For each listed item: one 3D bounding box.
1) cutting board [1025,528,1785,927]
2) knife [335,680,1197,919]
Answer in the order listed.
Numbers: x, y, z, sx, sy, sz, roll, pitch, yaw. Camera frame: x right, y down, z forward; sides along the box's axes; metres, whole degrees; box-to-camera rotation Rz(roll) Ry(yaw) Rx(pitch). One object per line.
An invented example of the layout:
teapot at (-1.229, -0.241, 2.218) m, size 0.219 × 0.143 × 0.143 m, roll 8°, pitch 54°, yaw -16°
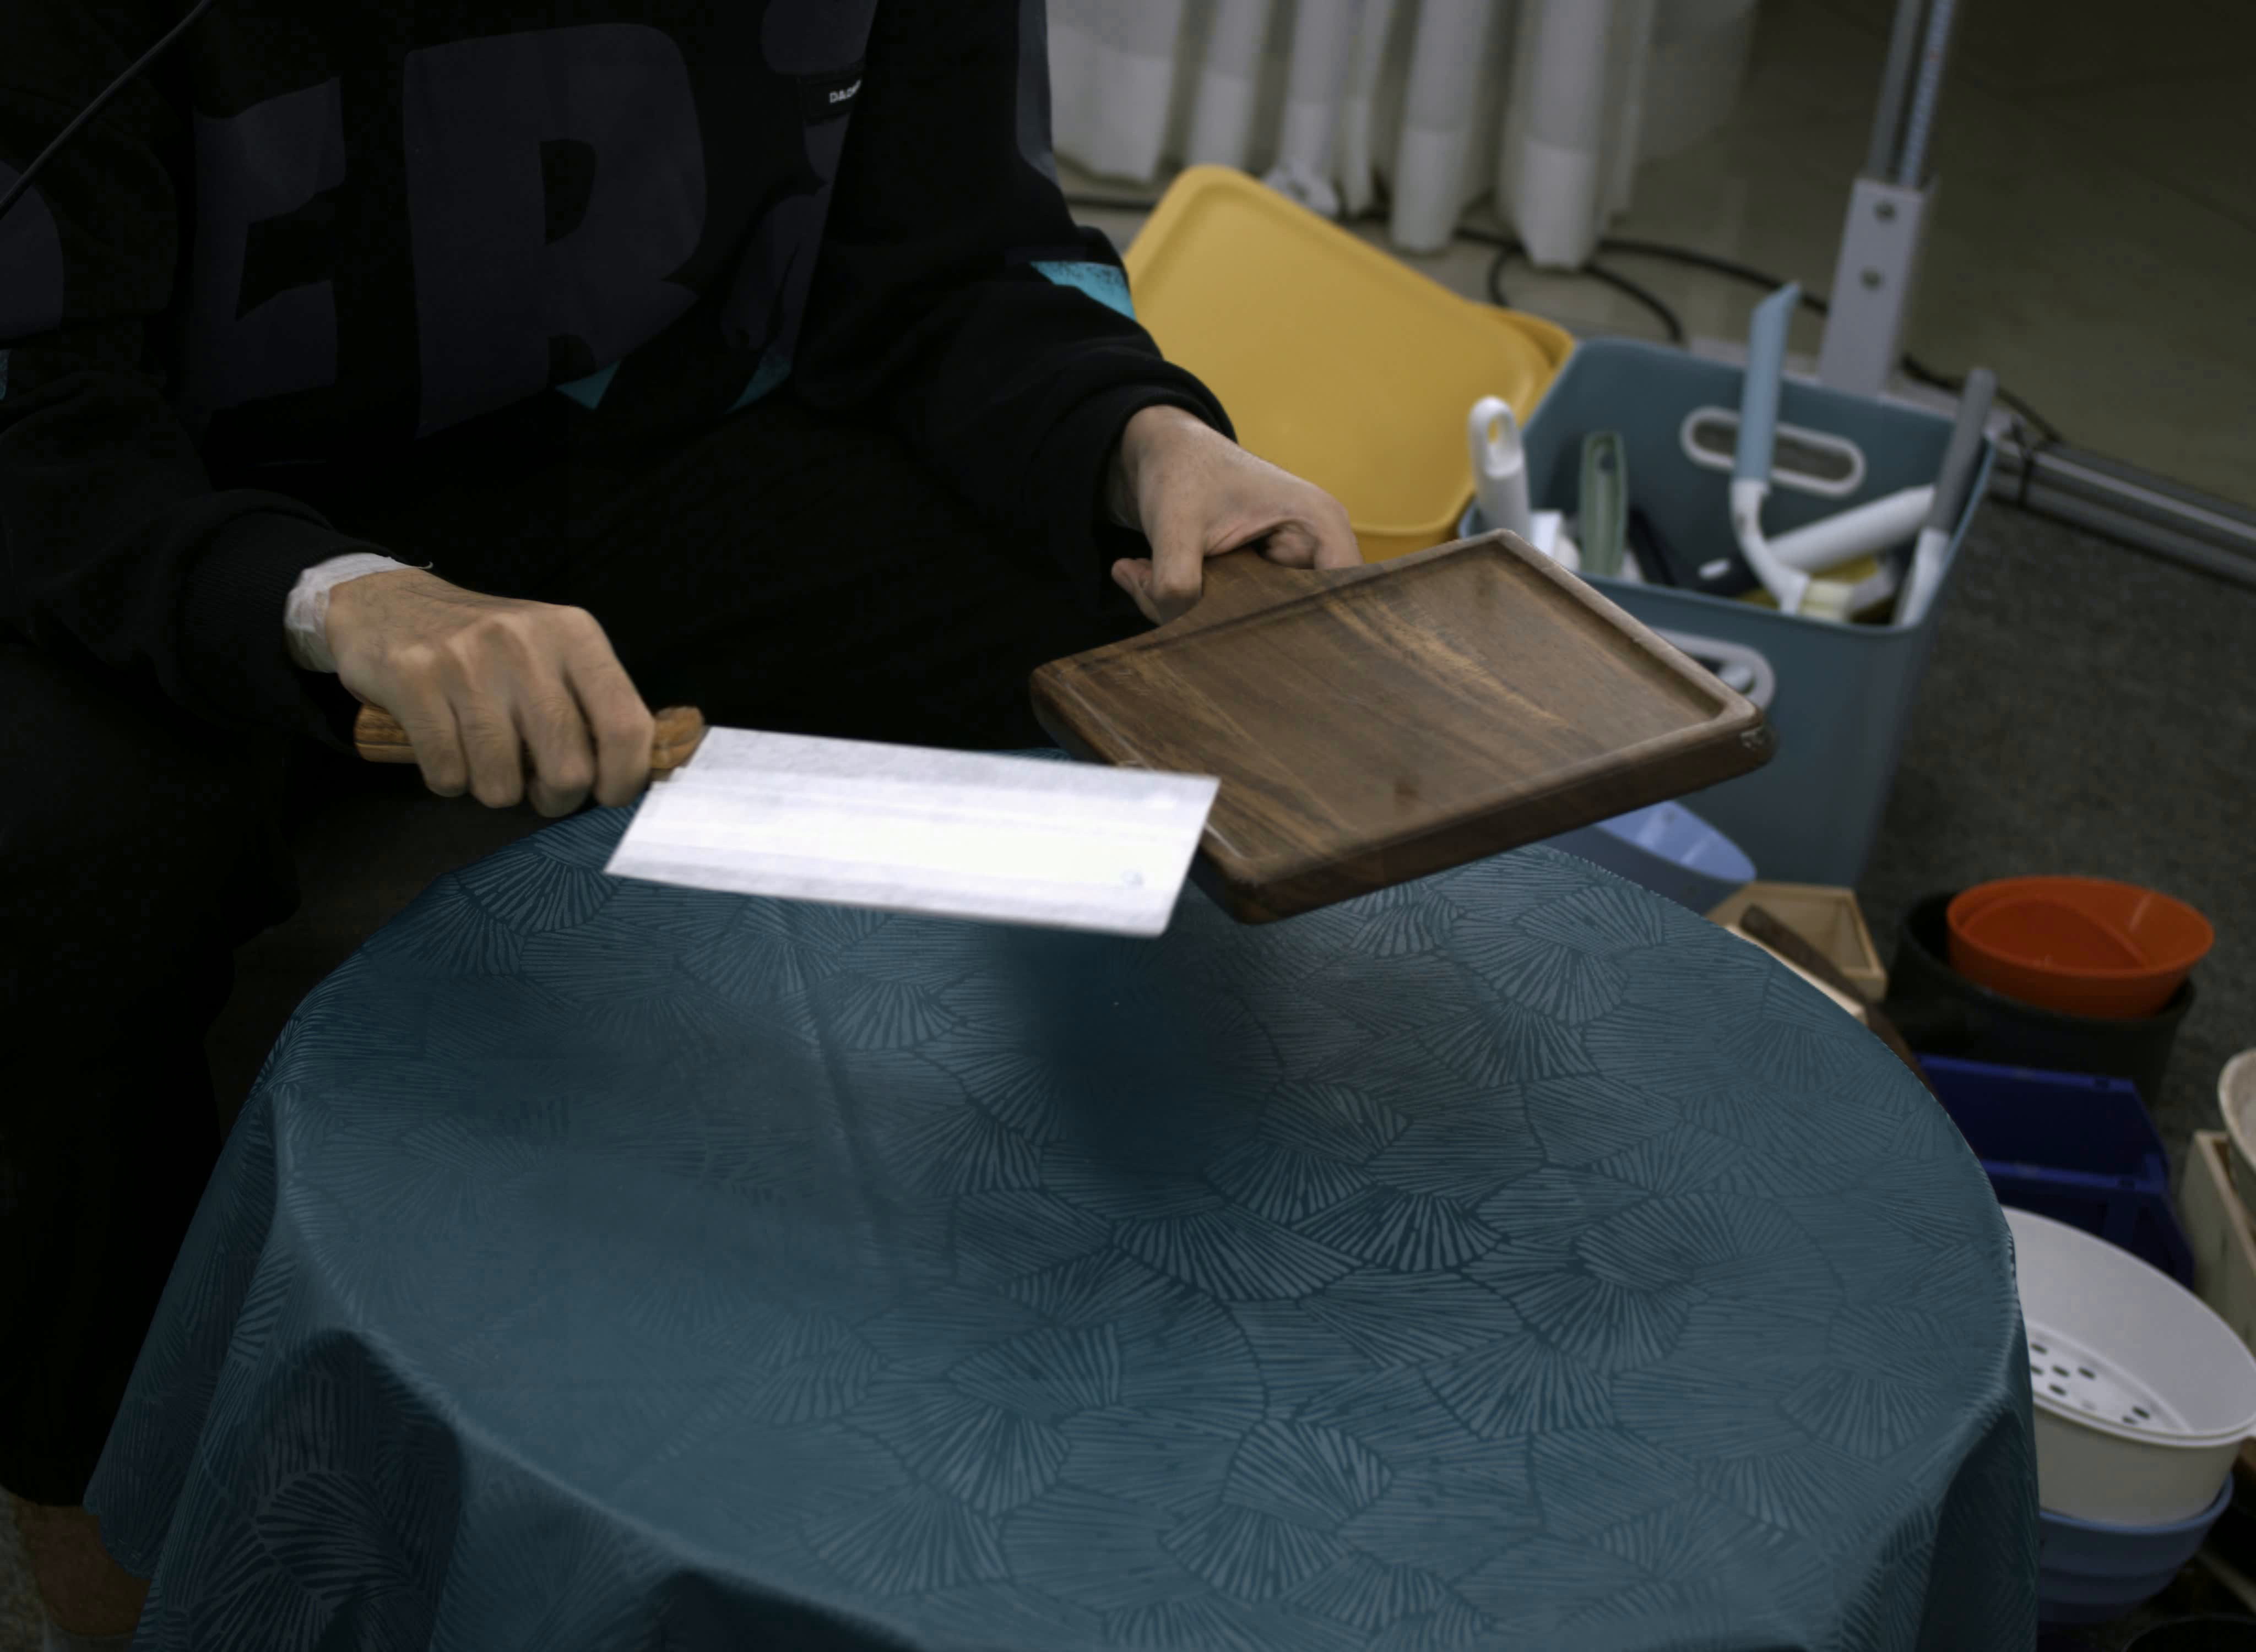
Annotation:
cutting board at (0.076, -0.053, 1.916) m, size 0.200 × 0.023 × 0.354 m, roll -18°, pitch 22°, yaw -13°
knife at (-0.130, -0.006, 1.780) m, size 0.306 × 0.021 × 0.093 m, roll 7°, pitch 36°, yaw 13°
